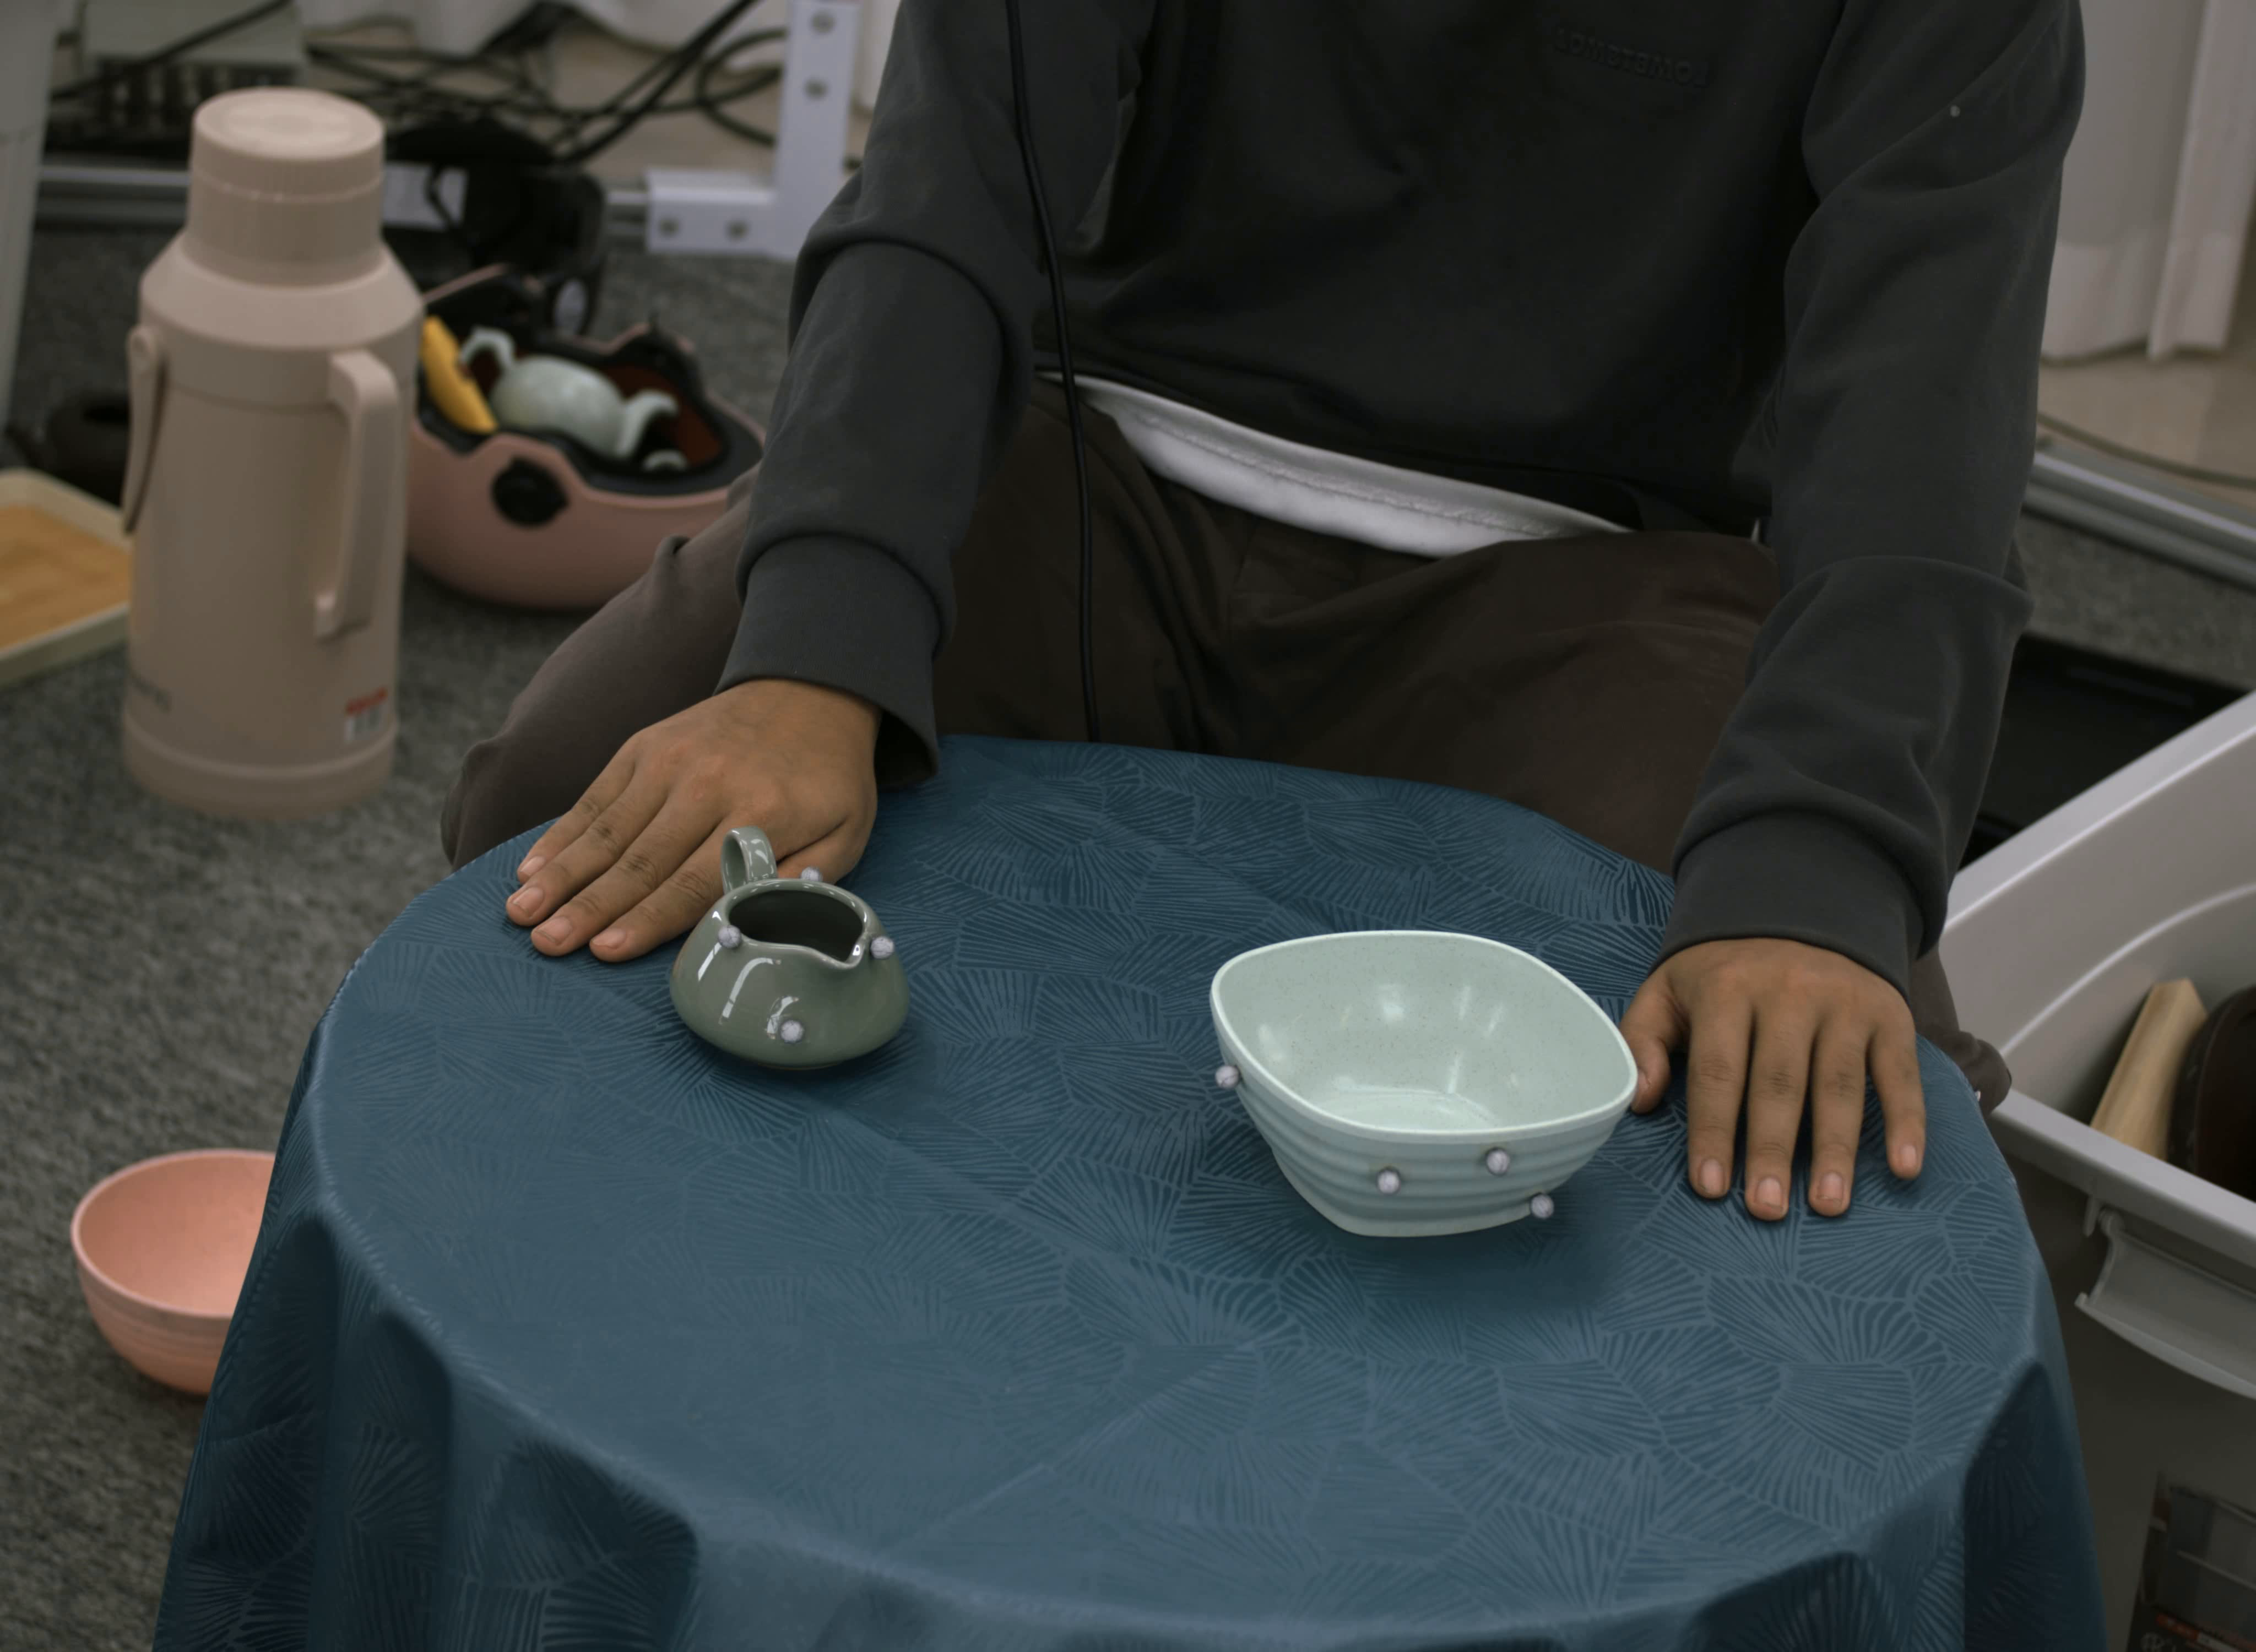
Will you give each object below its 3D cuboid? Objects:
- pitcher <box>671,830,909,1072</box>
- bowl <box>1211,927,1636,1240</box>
[{"bbox_3d":[-0.120,0.046,1.871,0.083,0.056,0.113,-6,29,-25],"label":"pitcher"},{"bbox_3d":[0.098,0.094,1.827,0.151,0.058,0.152,5,28,-3],"label":"bowl"}]
